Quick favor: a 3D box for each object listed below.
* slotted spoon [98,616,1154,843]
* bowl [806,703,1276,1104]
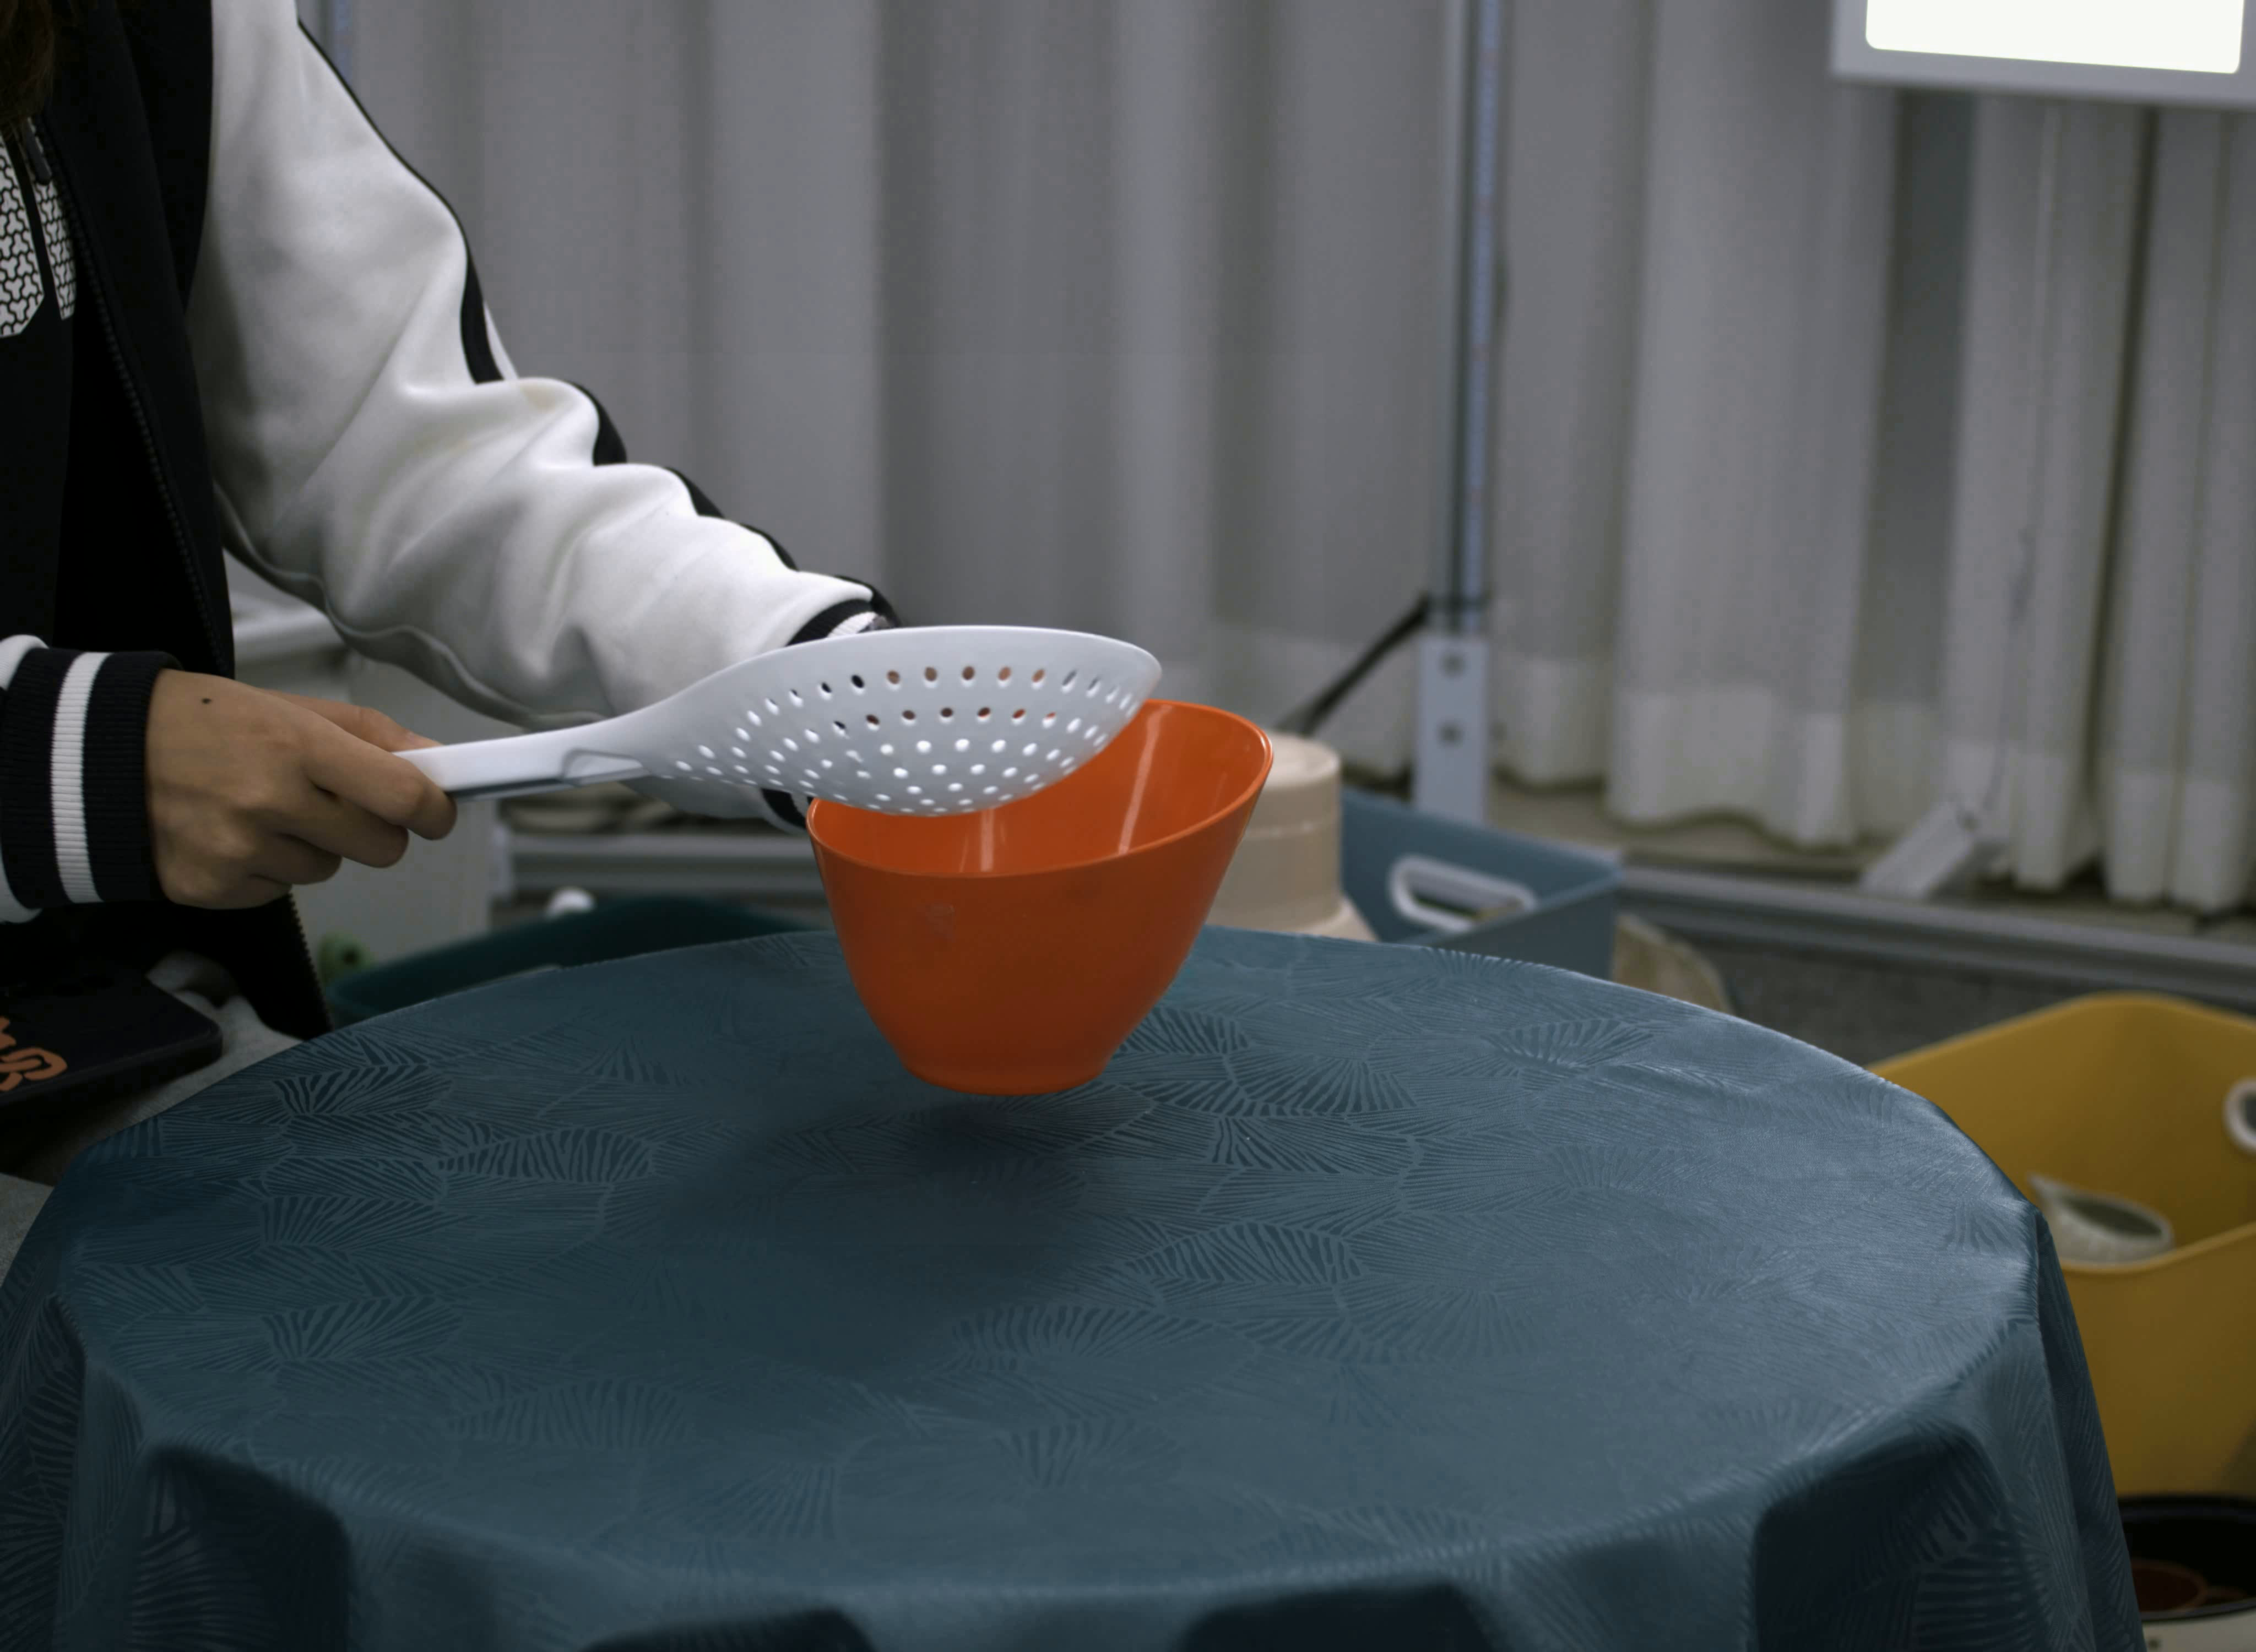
[{"bbox_3d":[-0.159,-0.025,1.608,0.346,0.046,0.137,-3,-11,20],"label":"slotted spoon"},{"bbox_3d":[-0.028,0.027,1.665,0.147,0.105,0.147,2,20,0],"label":"bowl"}]
